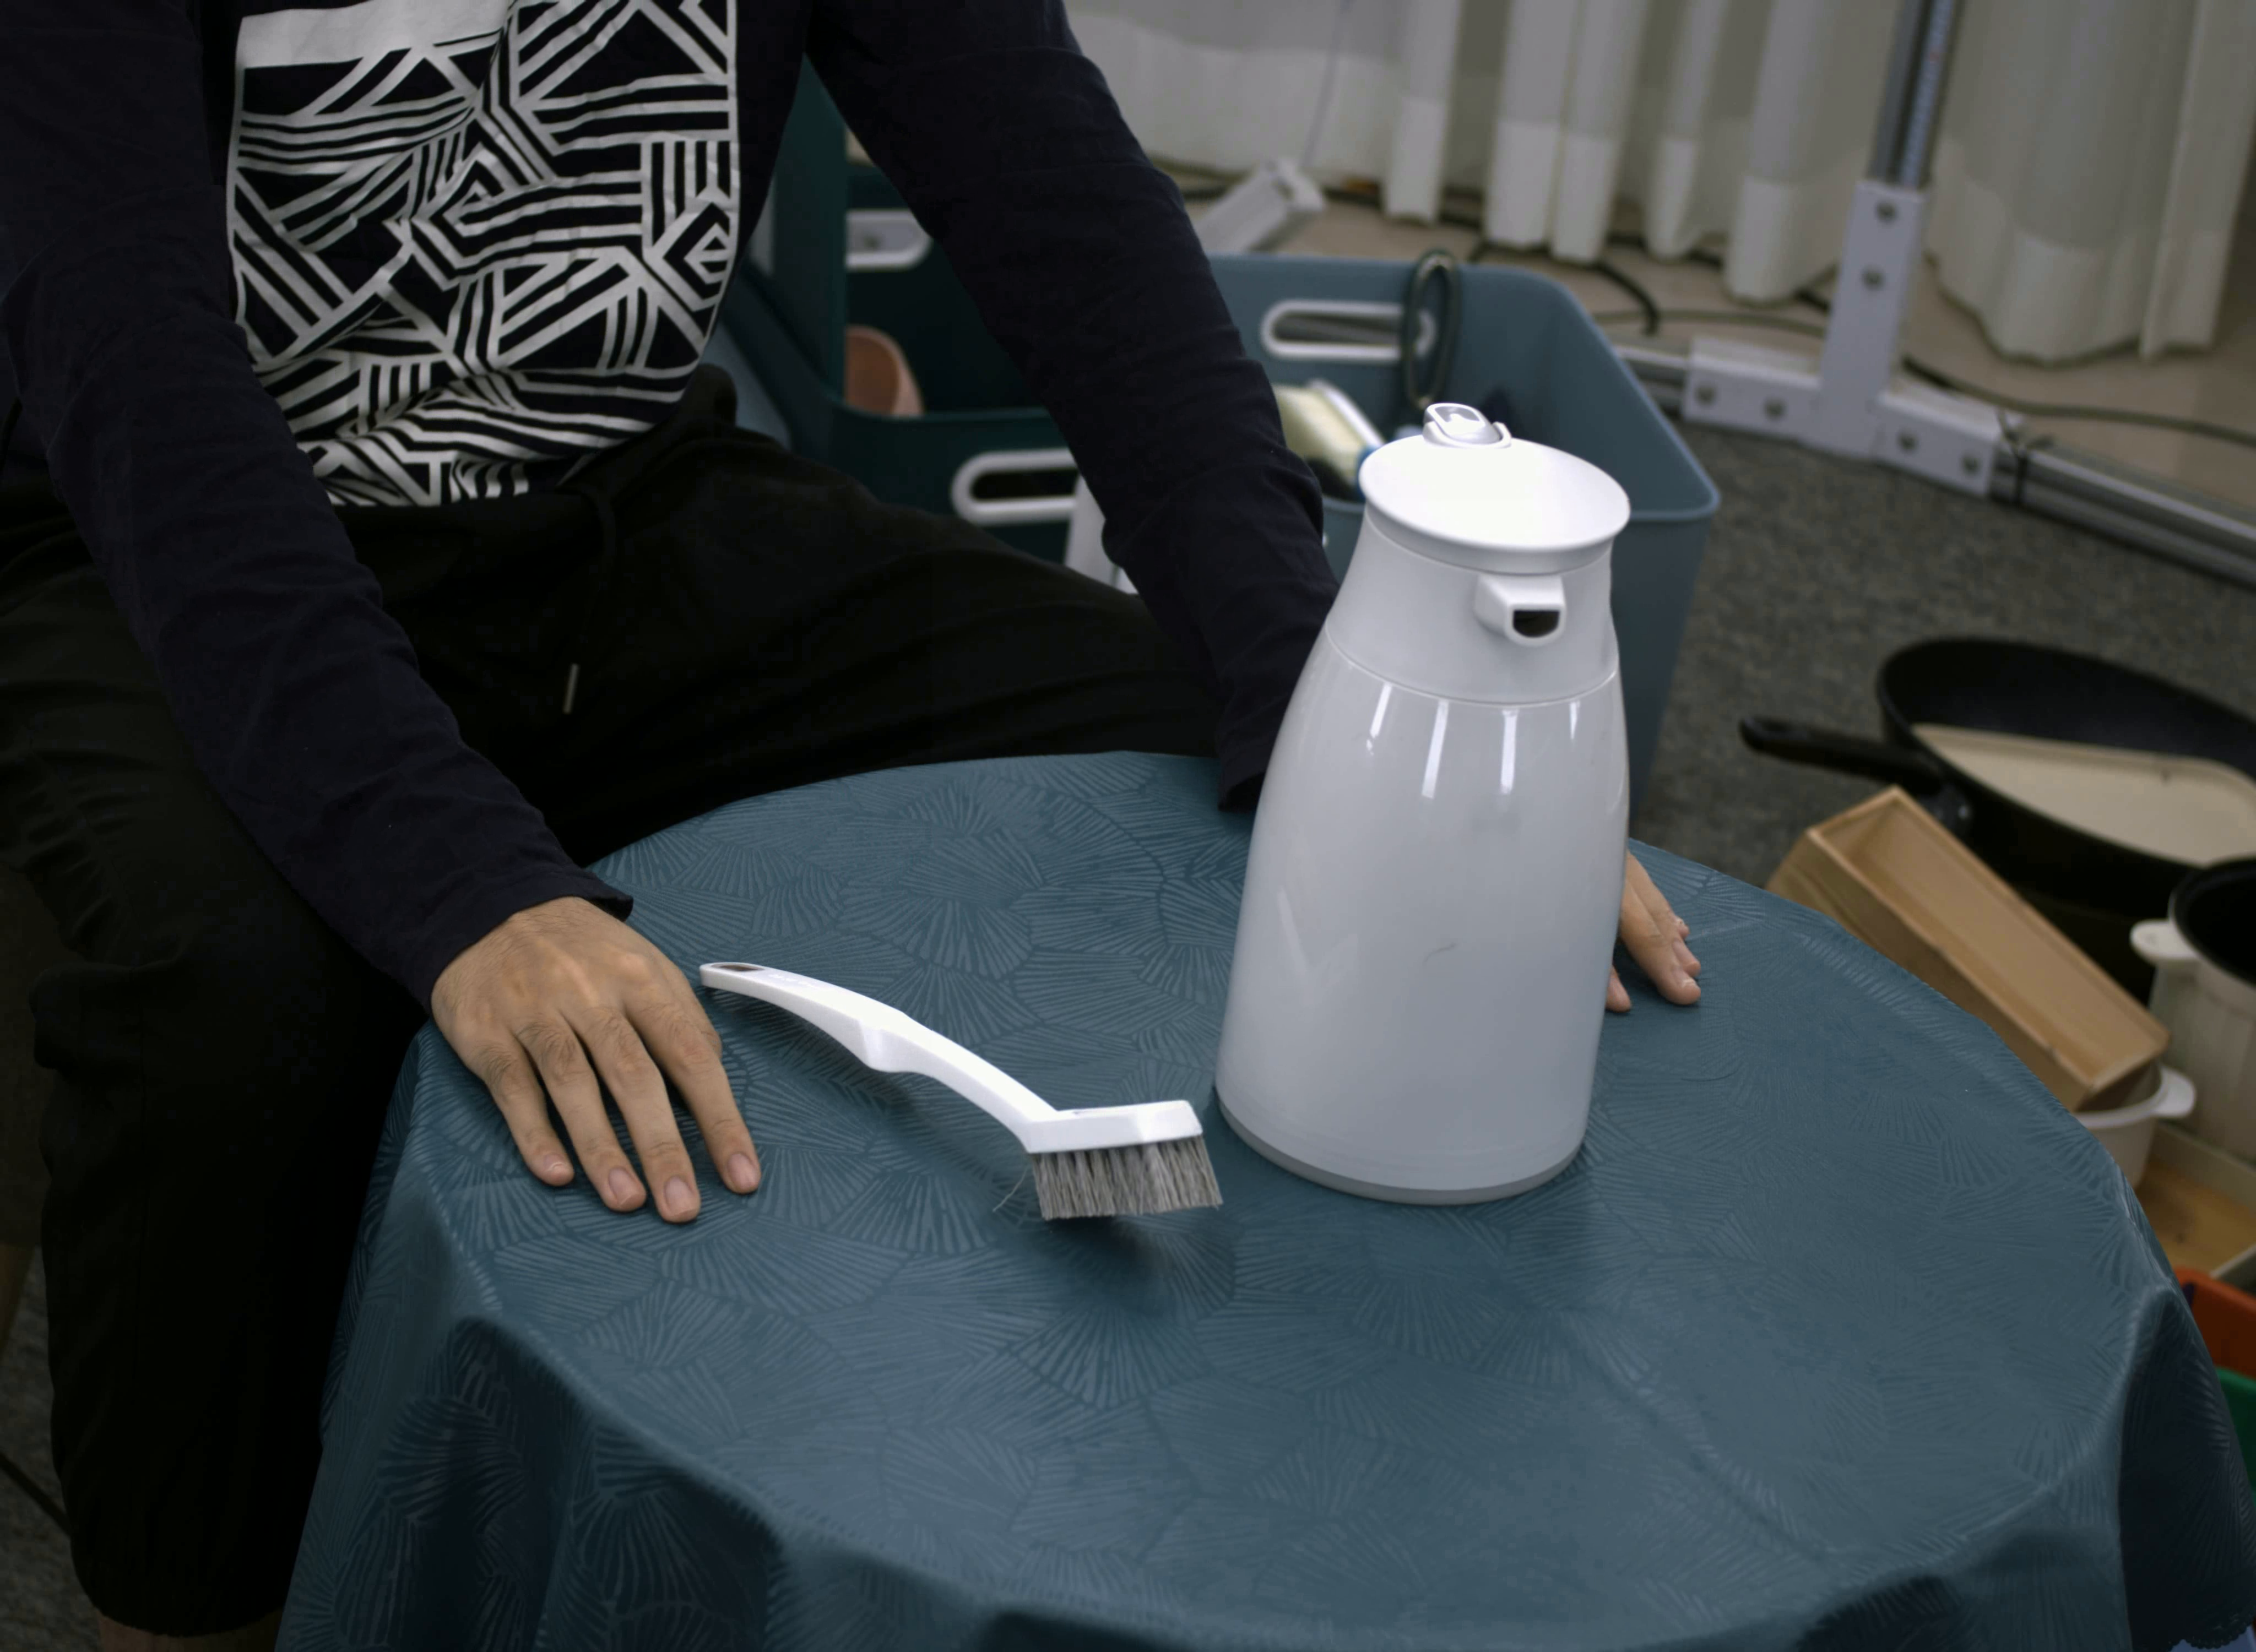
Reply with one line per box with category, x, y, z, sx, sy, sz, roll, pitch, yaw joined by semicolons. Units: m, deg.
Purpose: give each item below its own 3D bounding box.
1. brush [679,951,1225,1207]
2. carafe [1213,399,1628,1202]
brush;-0.066;0.090;1.823;0.245;0.050;0.034;15;19;39
carafe;0.103;-0.019;1.836;0.132;0.248;0.169;-1;27;-15
